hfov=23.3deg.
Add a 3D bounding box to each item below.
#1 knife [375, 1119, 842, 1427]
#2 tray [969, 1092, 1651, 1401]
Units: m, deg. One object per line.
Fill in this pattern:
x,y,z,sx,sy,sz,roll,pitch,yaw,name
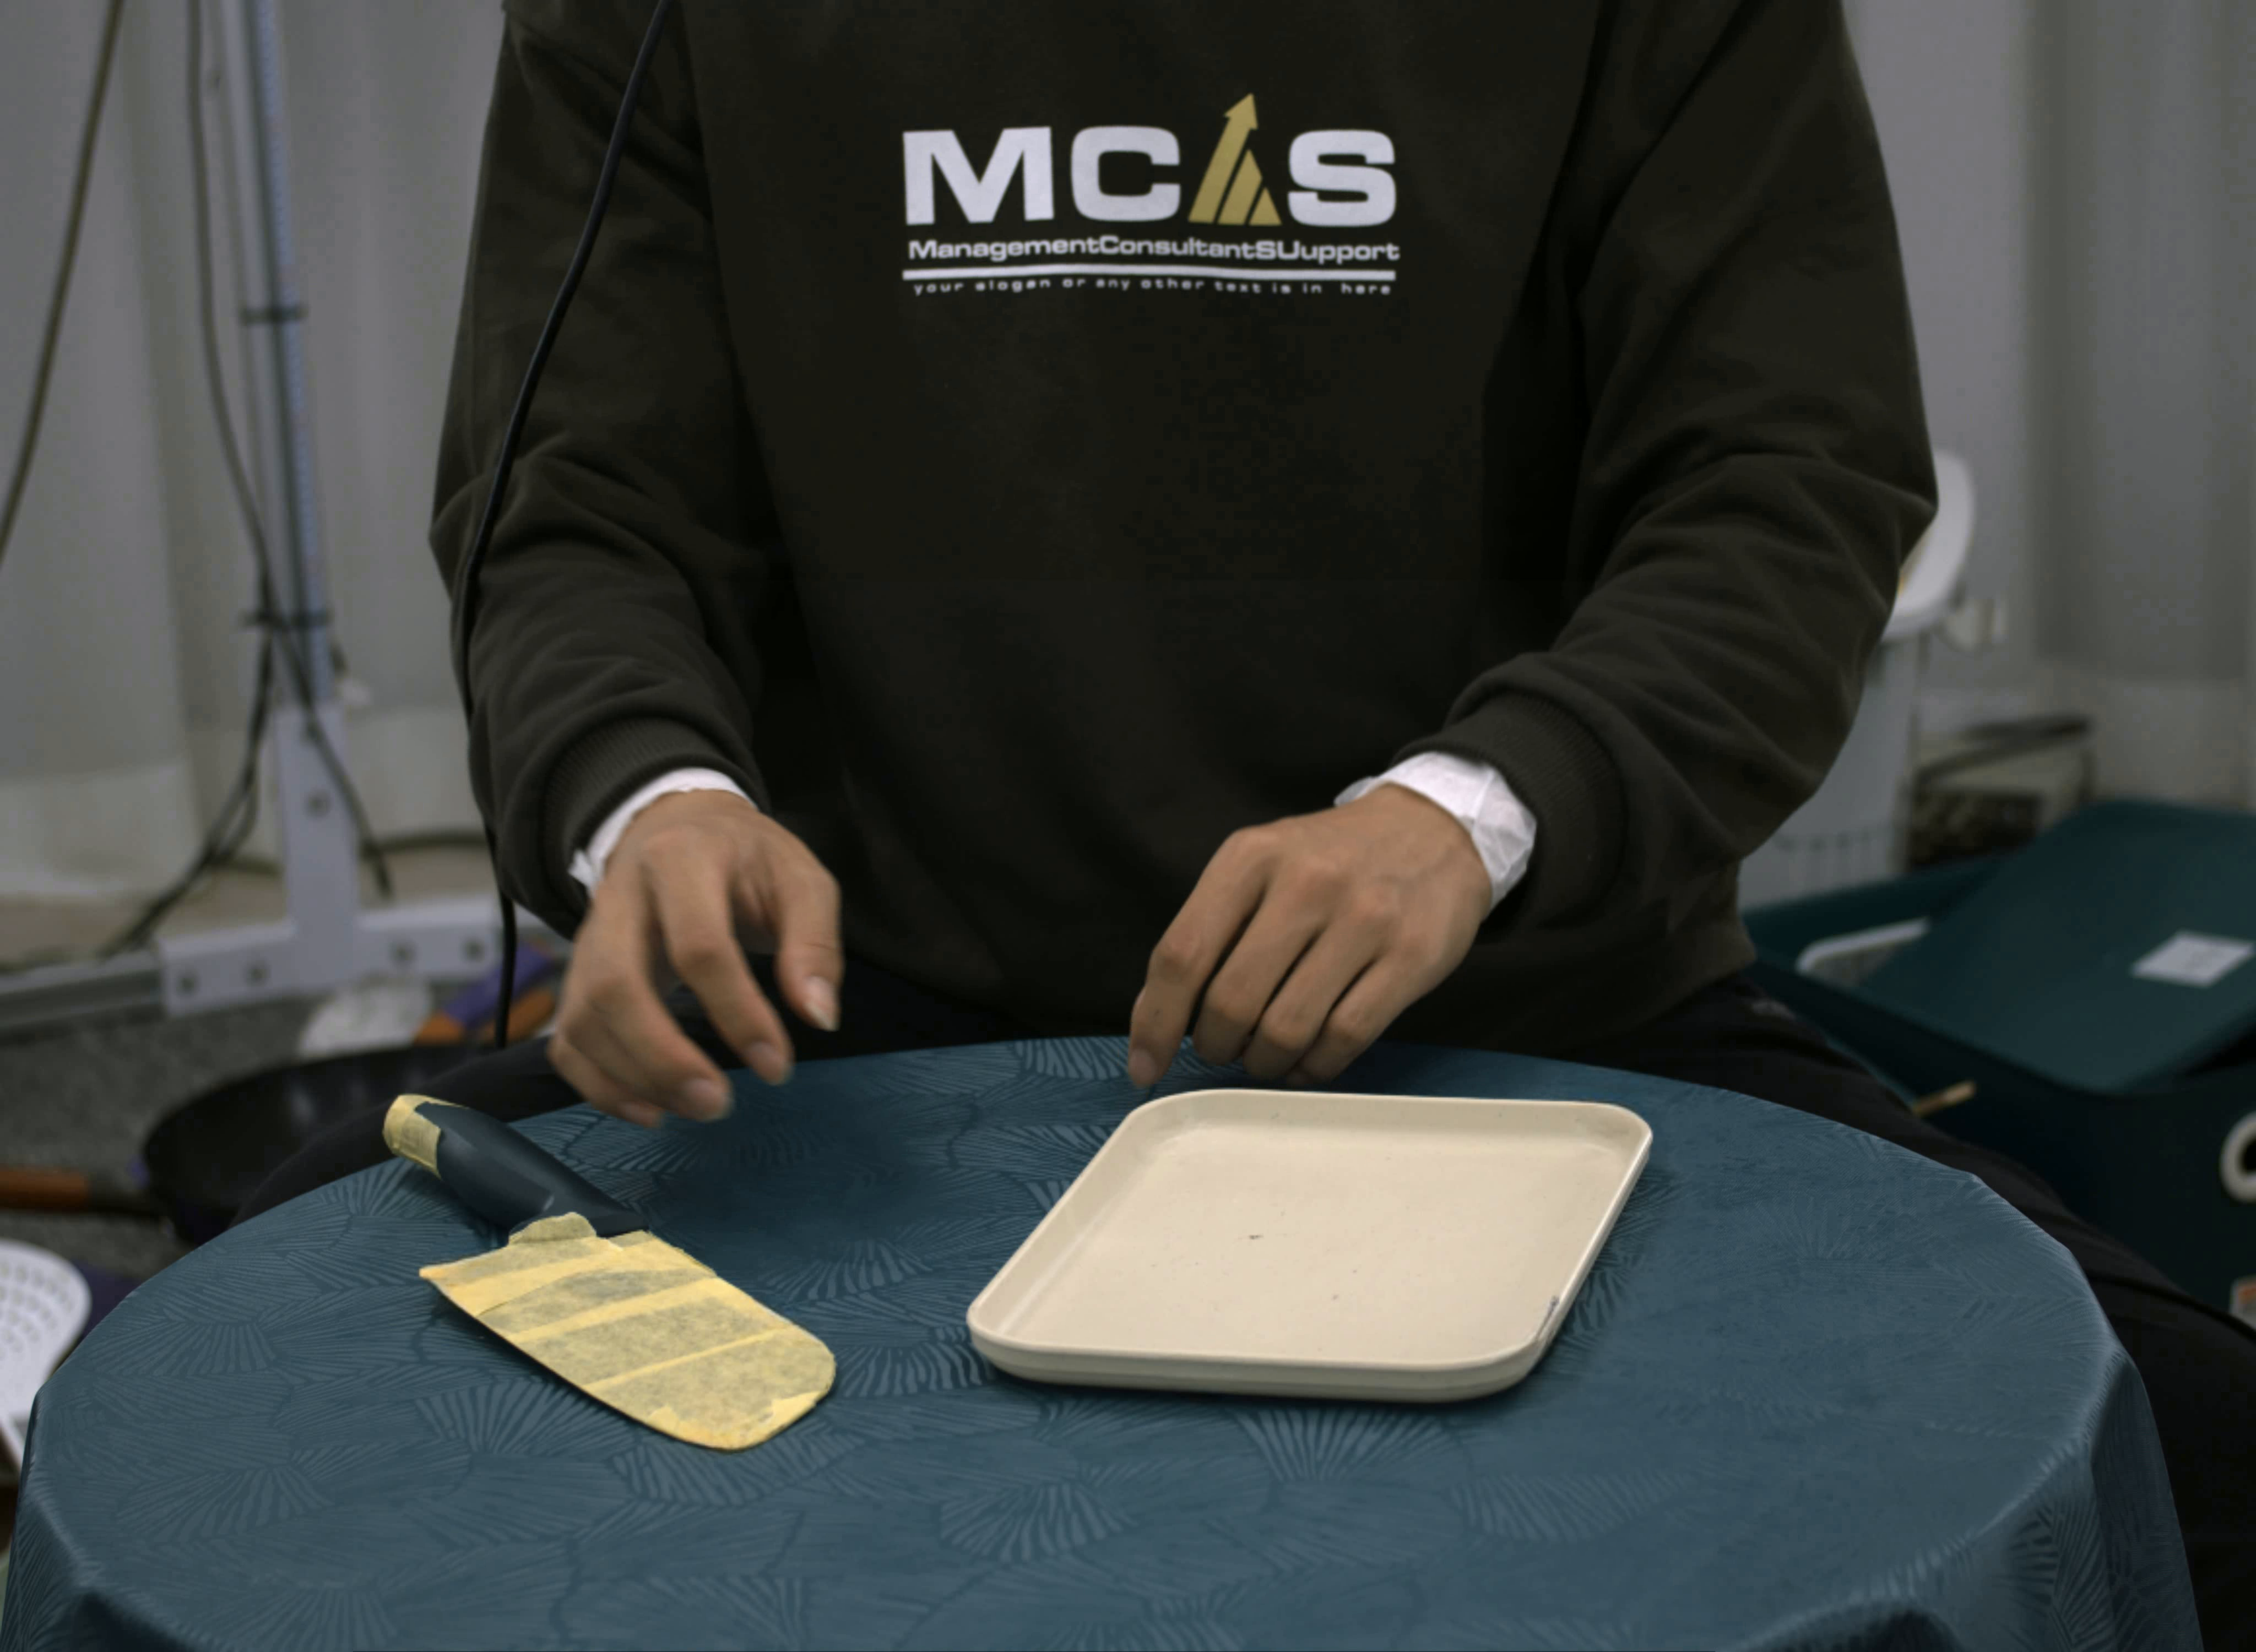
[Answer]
-0.170,0.135,1.643,0.080,0.027,0.292,-9,17,-29,knife
0.059,0.124,1.635,0.171,0.017,0.240,1,15,15,tray
